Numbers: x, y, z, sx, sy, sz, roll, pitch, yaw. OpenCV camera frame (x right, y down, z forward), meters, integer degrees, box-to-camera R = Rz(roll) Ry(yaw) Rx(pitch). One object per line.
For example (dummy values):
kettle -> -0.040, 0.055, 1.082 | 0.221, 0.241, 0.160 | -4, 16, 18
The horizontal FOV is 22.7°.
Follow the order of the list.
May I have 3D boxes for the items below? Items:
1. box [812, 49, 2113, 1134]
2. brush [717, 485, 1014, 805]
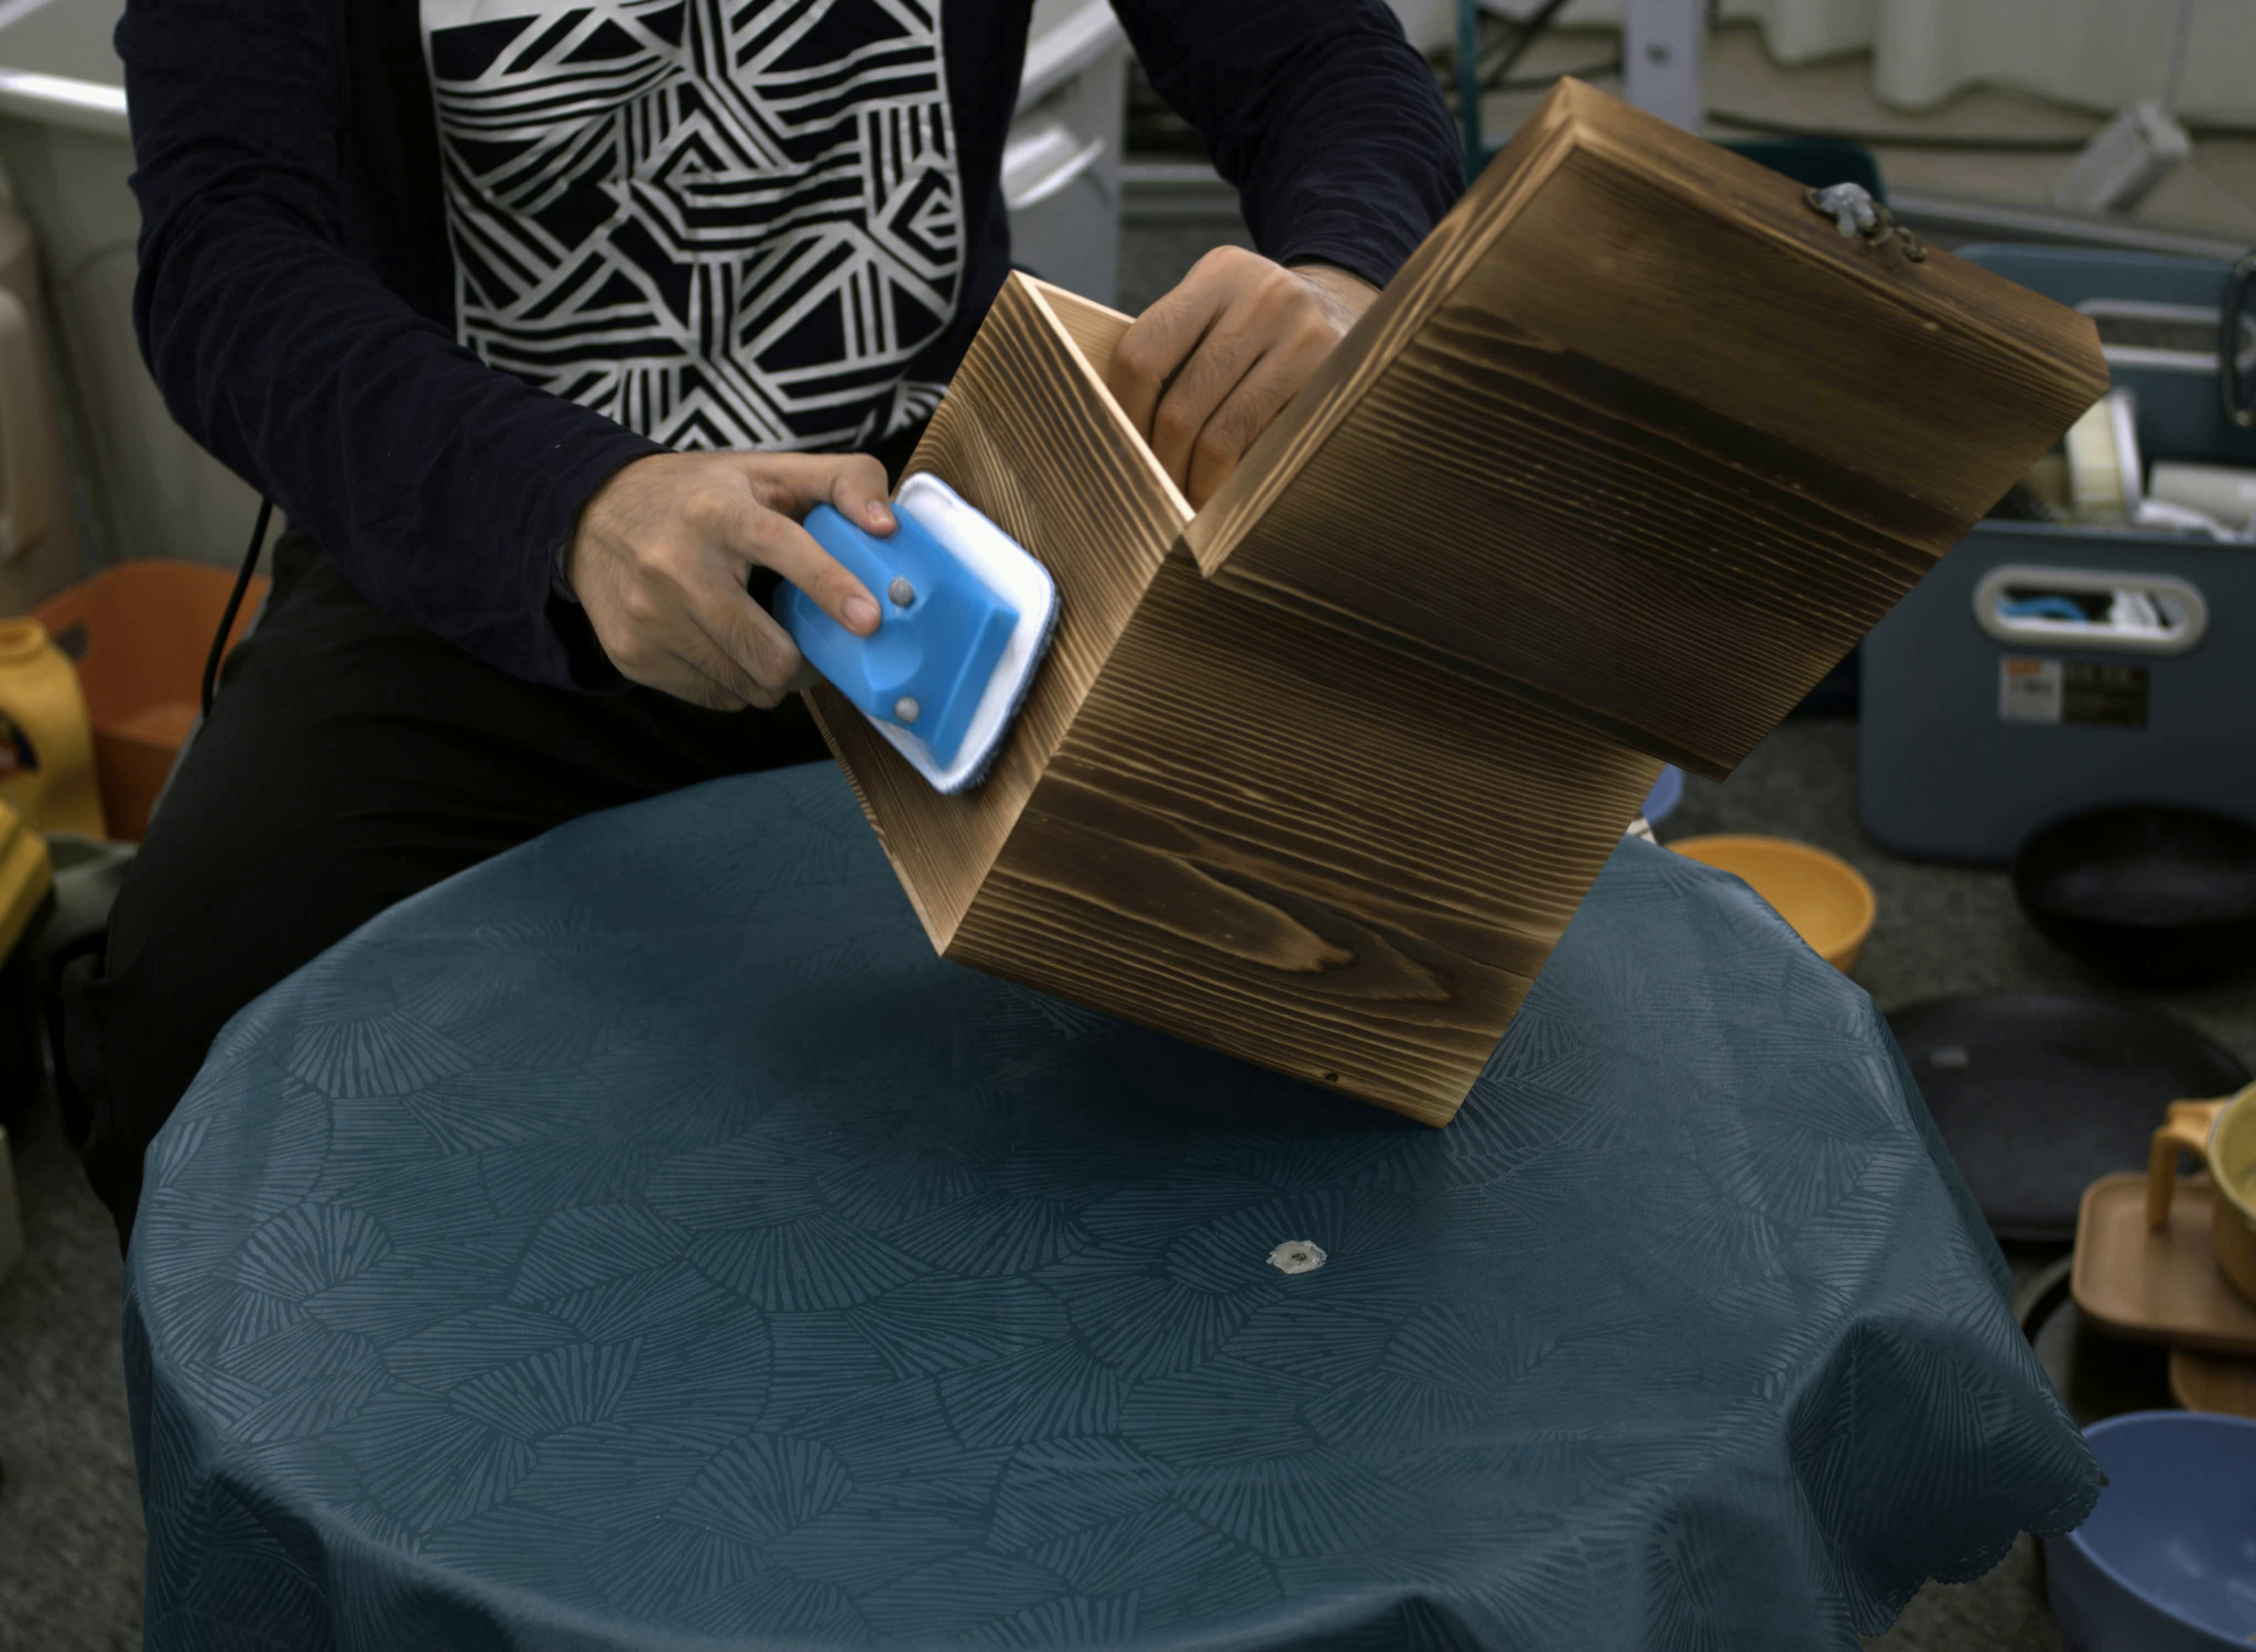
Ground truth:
box -> 0.094, -0.100, 1.836 | 0.208, 0.372, 0.325 | 21, 18, -27
brush -> -0.093, -0.065, 1.848 | 0.056, 0.084, 0.144 | 24, 7, -32
